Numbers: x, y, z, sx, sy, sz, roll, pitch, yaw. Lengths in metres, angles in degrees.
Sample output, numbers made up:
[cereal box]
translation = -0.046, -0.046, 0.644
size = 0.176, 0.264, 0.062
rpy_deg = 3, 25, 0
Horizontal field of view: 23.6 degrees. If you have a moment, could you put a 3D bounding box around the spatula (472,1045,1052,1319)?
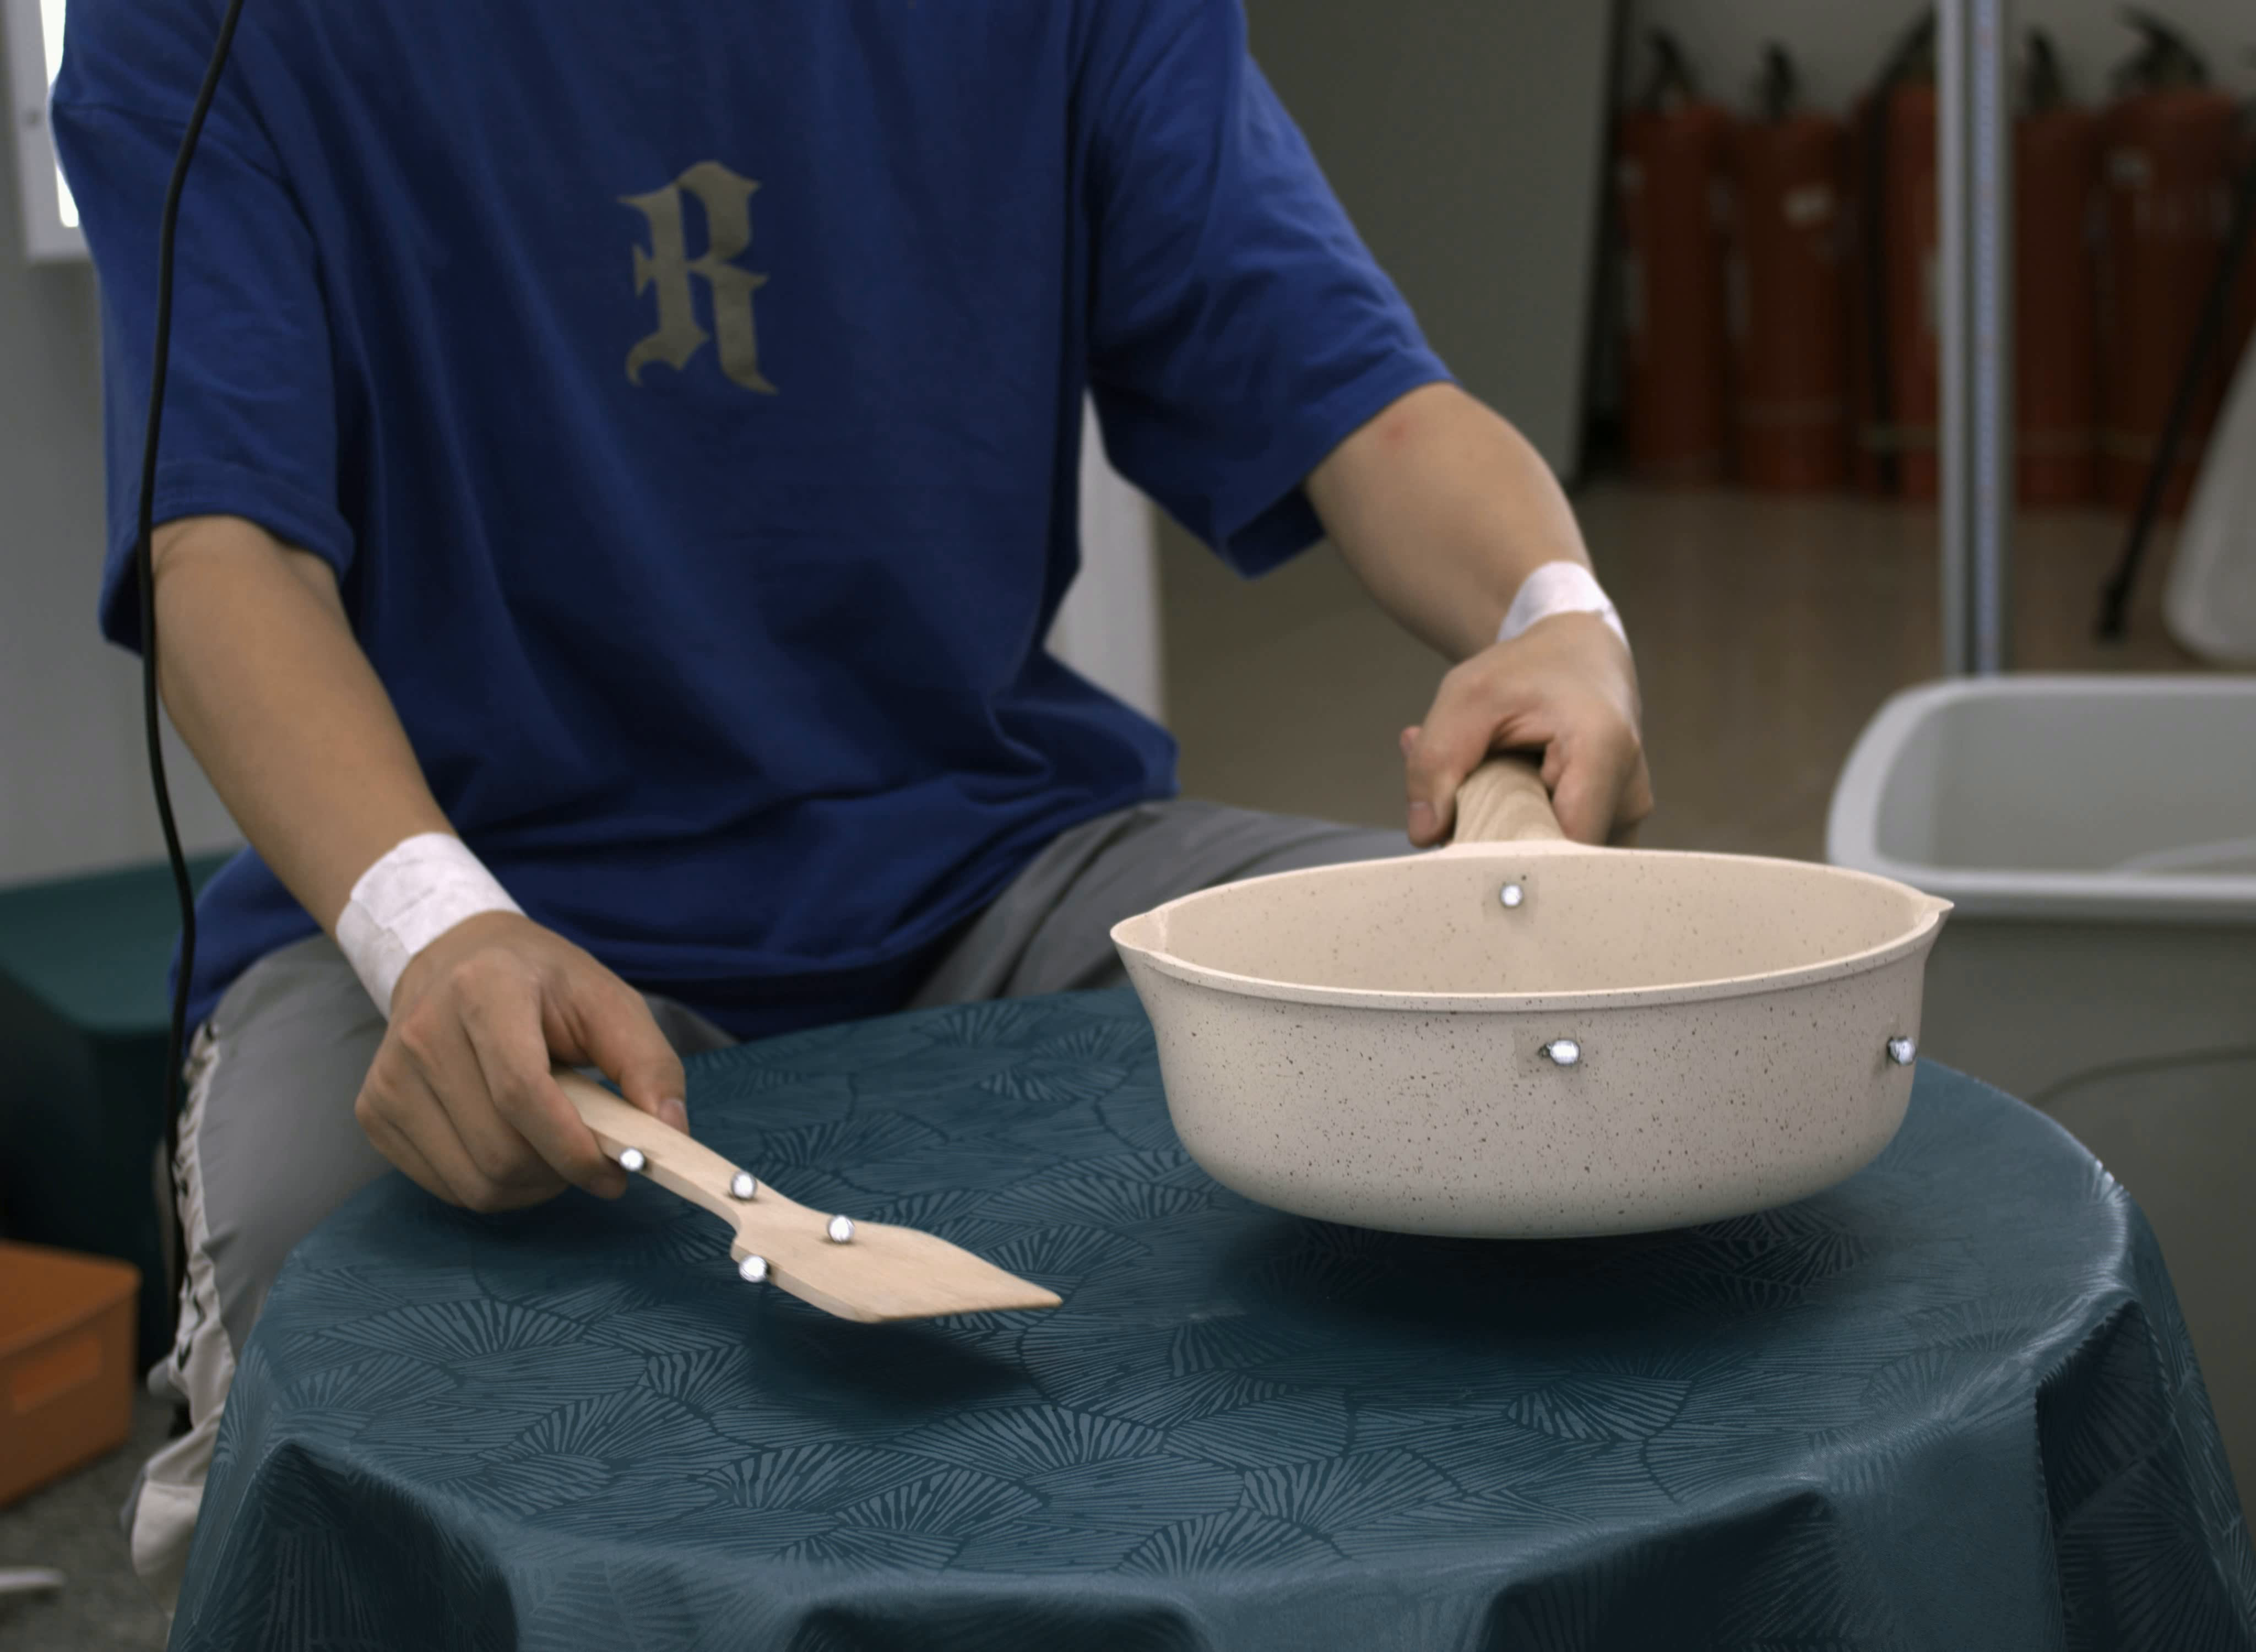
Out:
[spatula]
translation = -0.130, 0.110, 1.697
size = 0.070, 0.011, 0.296
rpy_deg = -3, 15, -34

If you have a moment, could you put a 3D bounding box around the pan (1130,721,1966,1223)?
[pan]
translation = 0.131, 0.043, 1.760
size = 0.260, 0.103, 0.435
rpy_deg = -4, 8, 1
